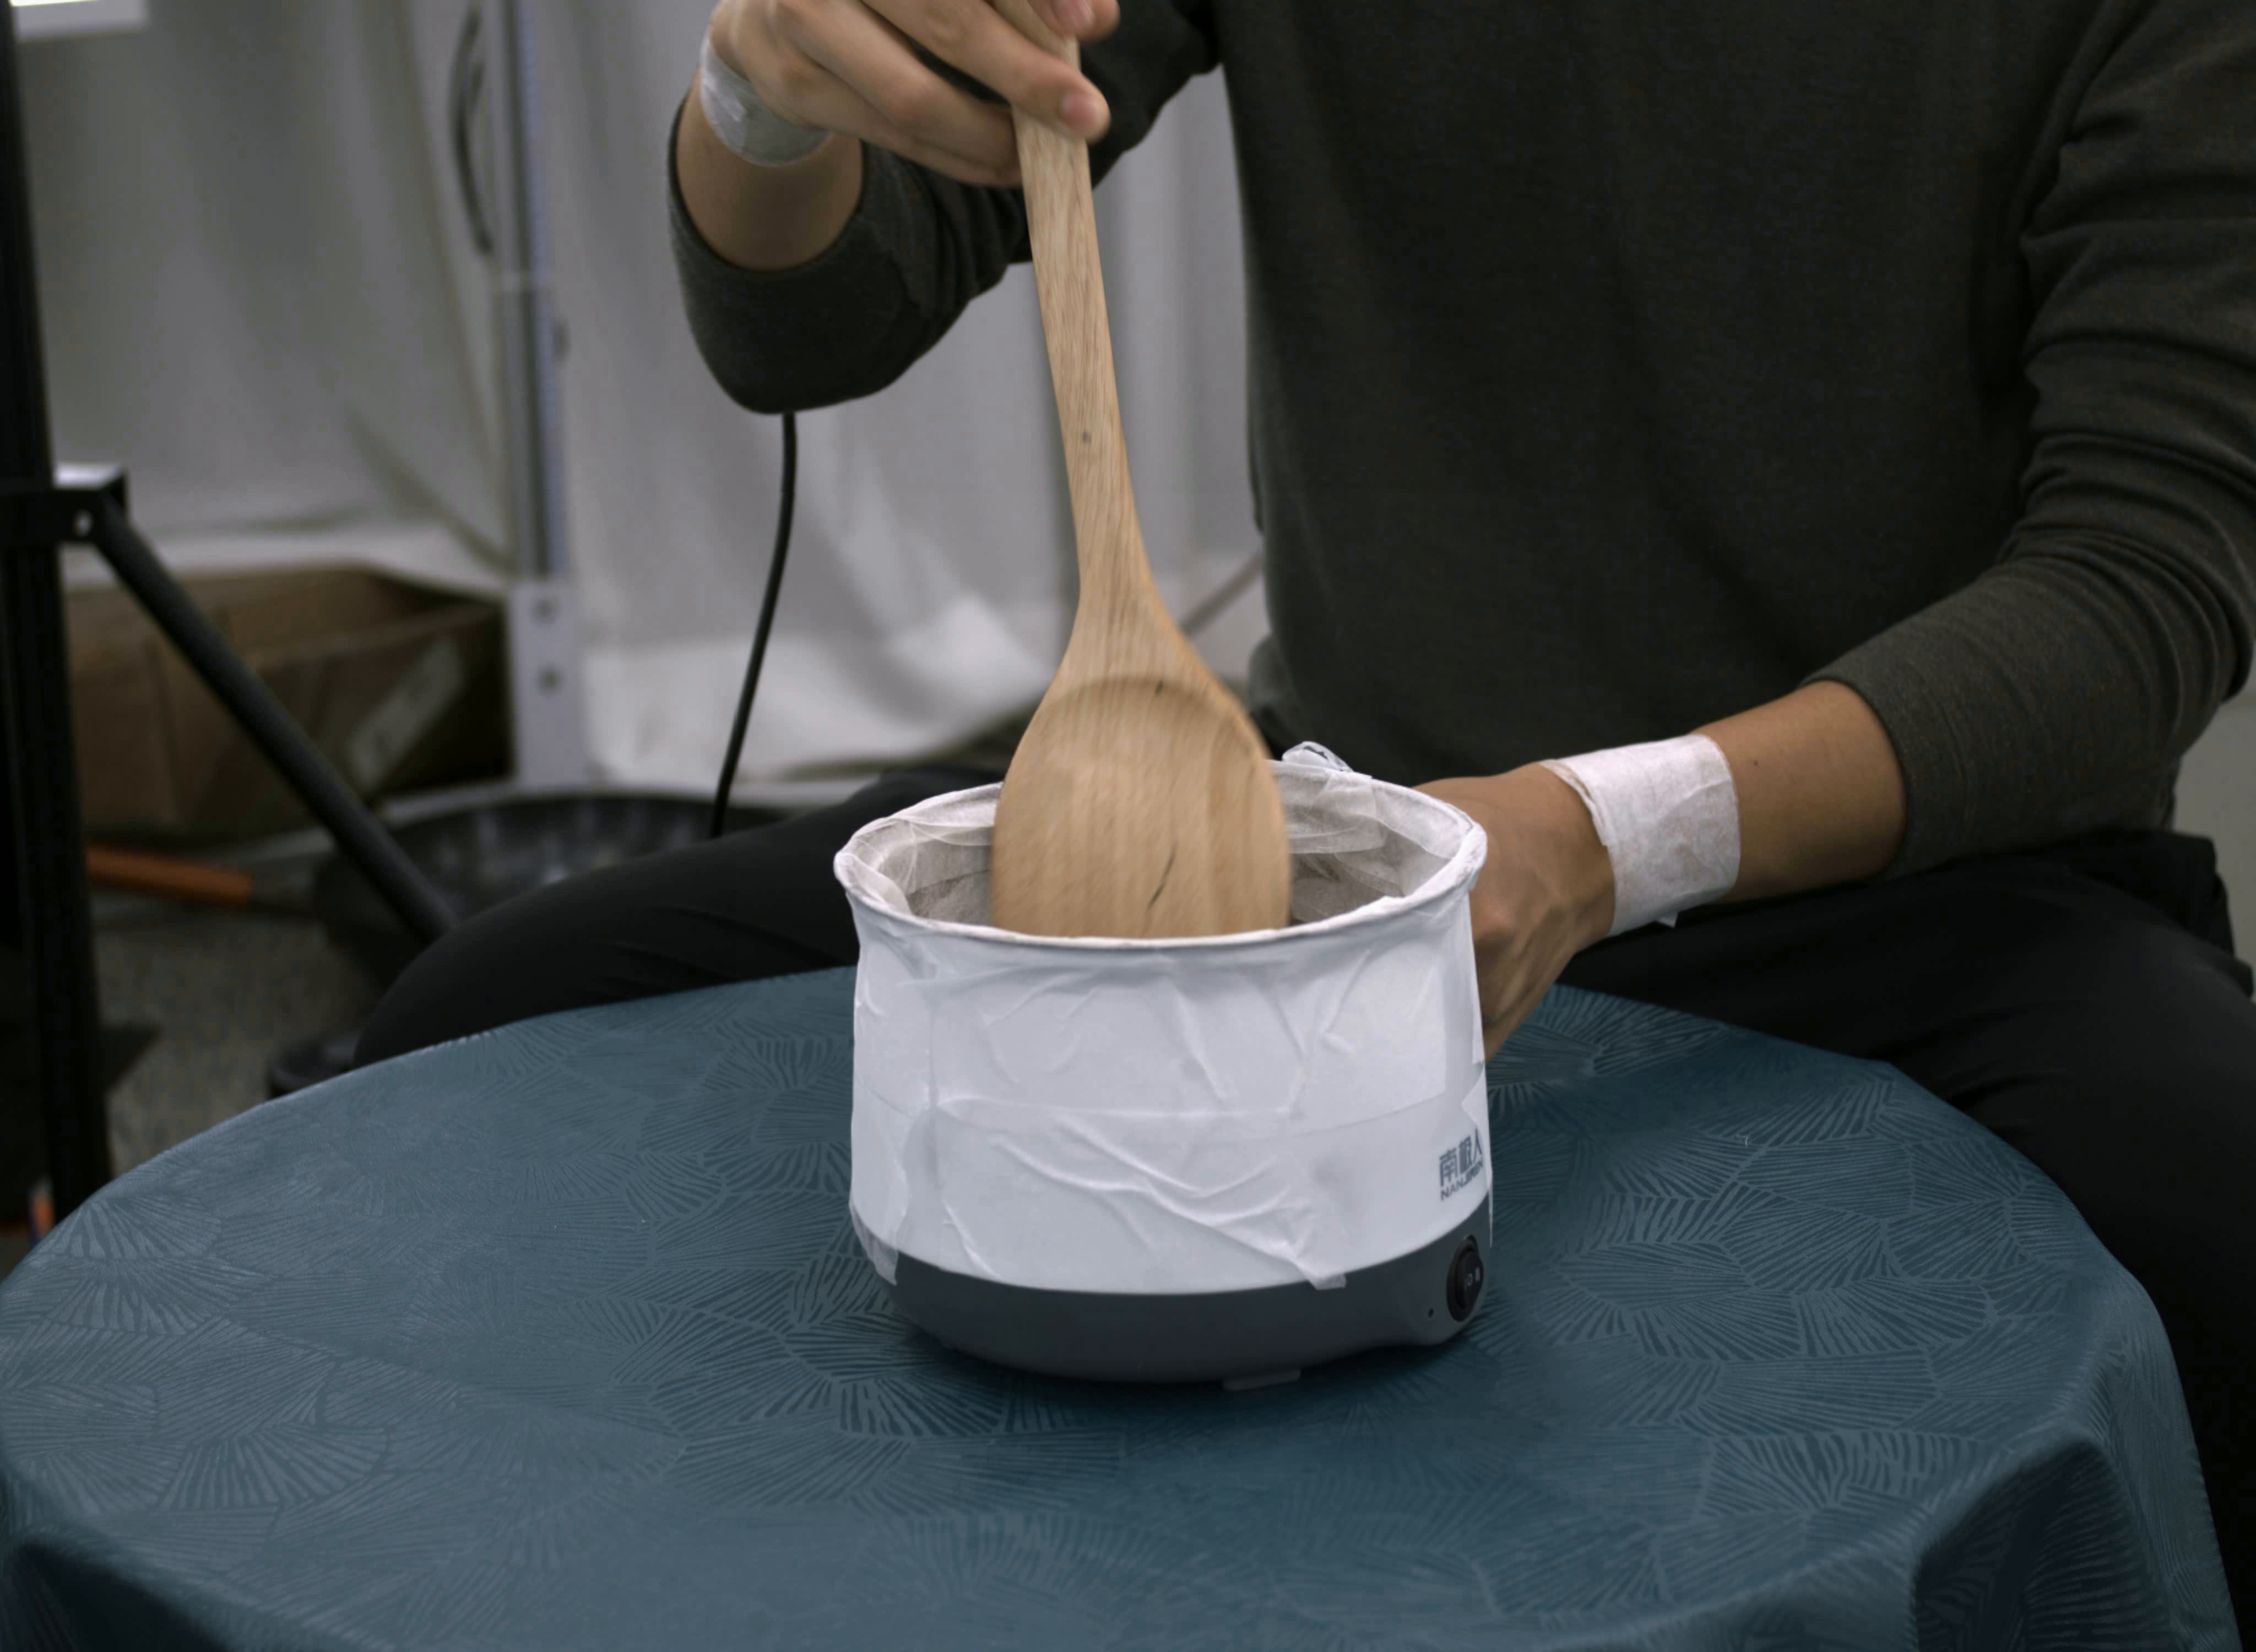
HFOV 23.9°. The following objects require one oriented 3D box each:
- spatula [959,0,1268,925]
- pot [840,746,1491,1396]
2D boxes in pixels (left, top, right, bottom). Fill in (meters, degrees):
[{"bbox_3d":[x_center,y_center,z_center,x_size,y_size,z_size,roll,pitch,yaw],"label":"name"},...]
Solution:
[{"bbox_3d":[-0.018,-0.138,1.473,0.097,0.392,0.018,-4,4,29],"label":"spatula"},{"bbox_3d":[0.023,0.061,1.478,0.181,0.136,0.230,5,17,25],"label":"pot"}]
